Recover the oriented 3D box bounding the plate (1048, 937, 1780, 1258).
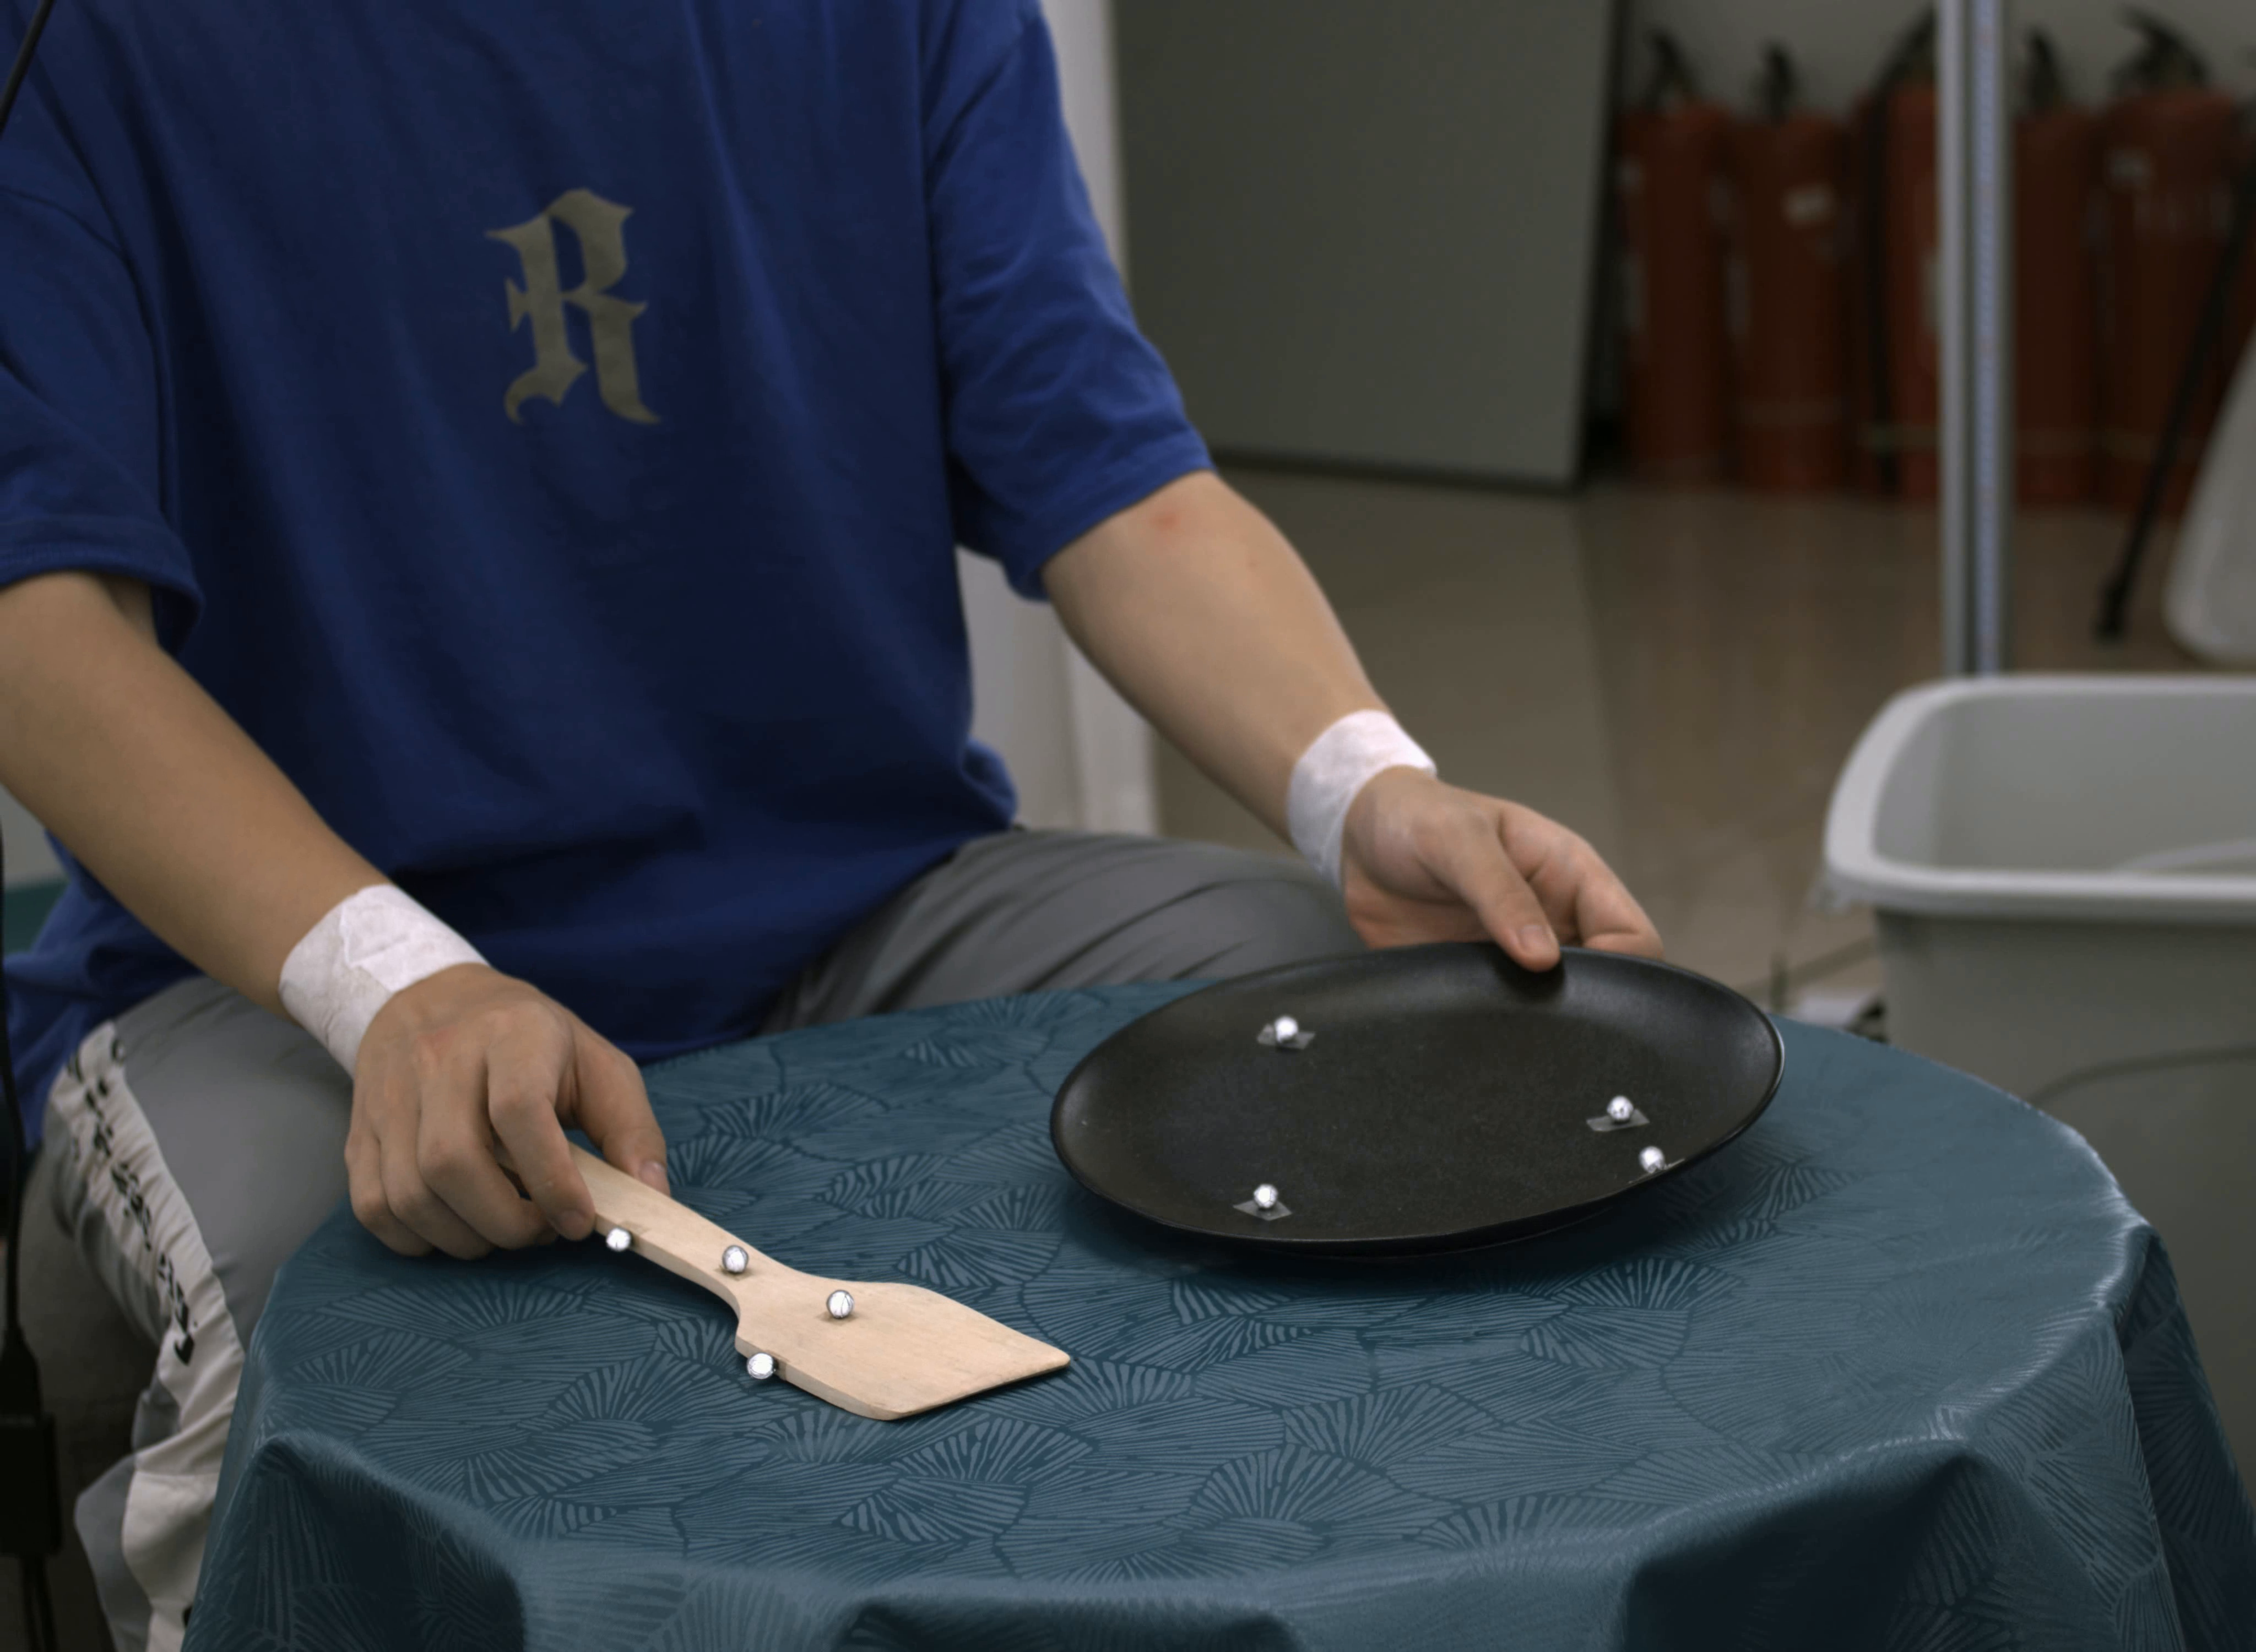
[{"bbox_3d":[0.094,0.093,1.764,0.241,0.023,0.245,-8,20,2],"label":"plate"}]

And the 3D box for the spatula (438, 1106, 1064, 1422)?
[{"bbox_3d":[-0.133,0.134,1.700,0.071,0.011,0.296,-15,23,-35],"label":"spatula"}]
